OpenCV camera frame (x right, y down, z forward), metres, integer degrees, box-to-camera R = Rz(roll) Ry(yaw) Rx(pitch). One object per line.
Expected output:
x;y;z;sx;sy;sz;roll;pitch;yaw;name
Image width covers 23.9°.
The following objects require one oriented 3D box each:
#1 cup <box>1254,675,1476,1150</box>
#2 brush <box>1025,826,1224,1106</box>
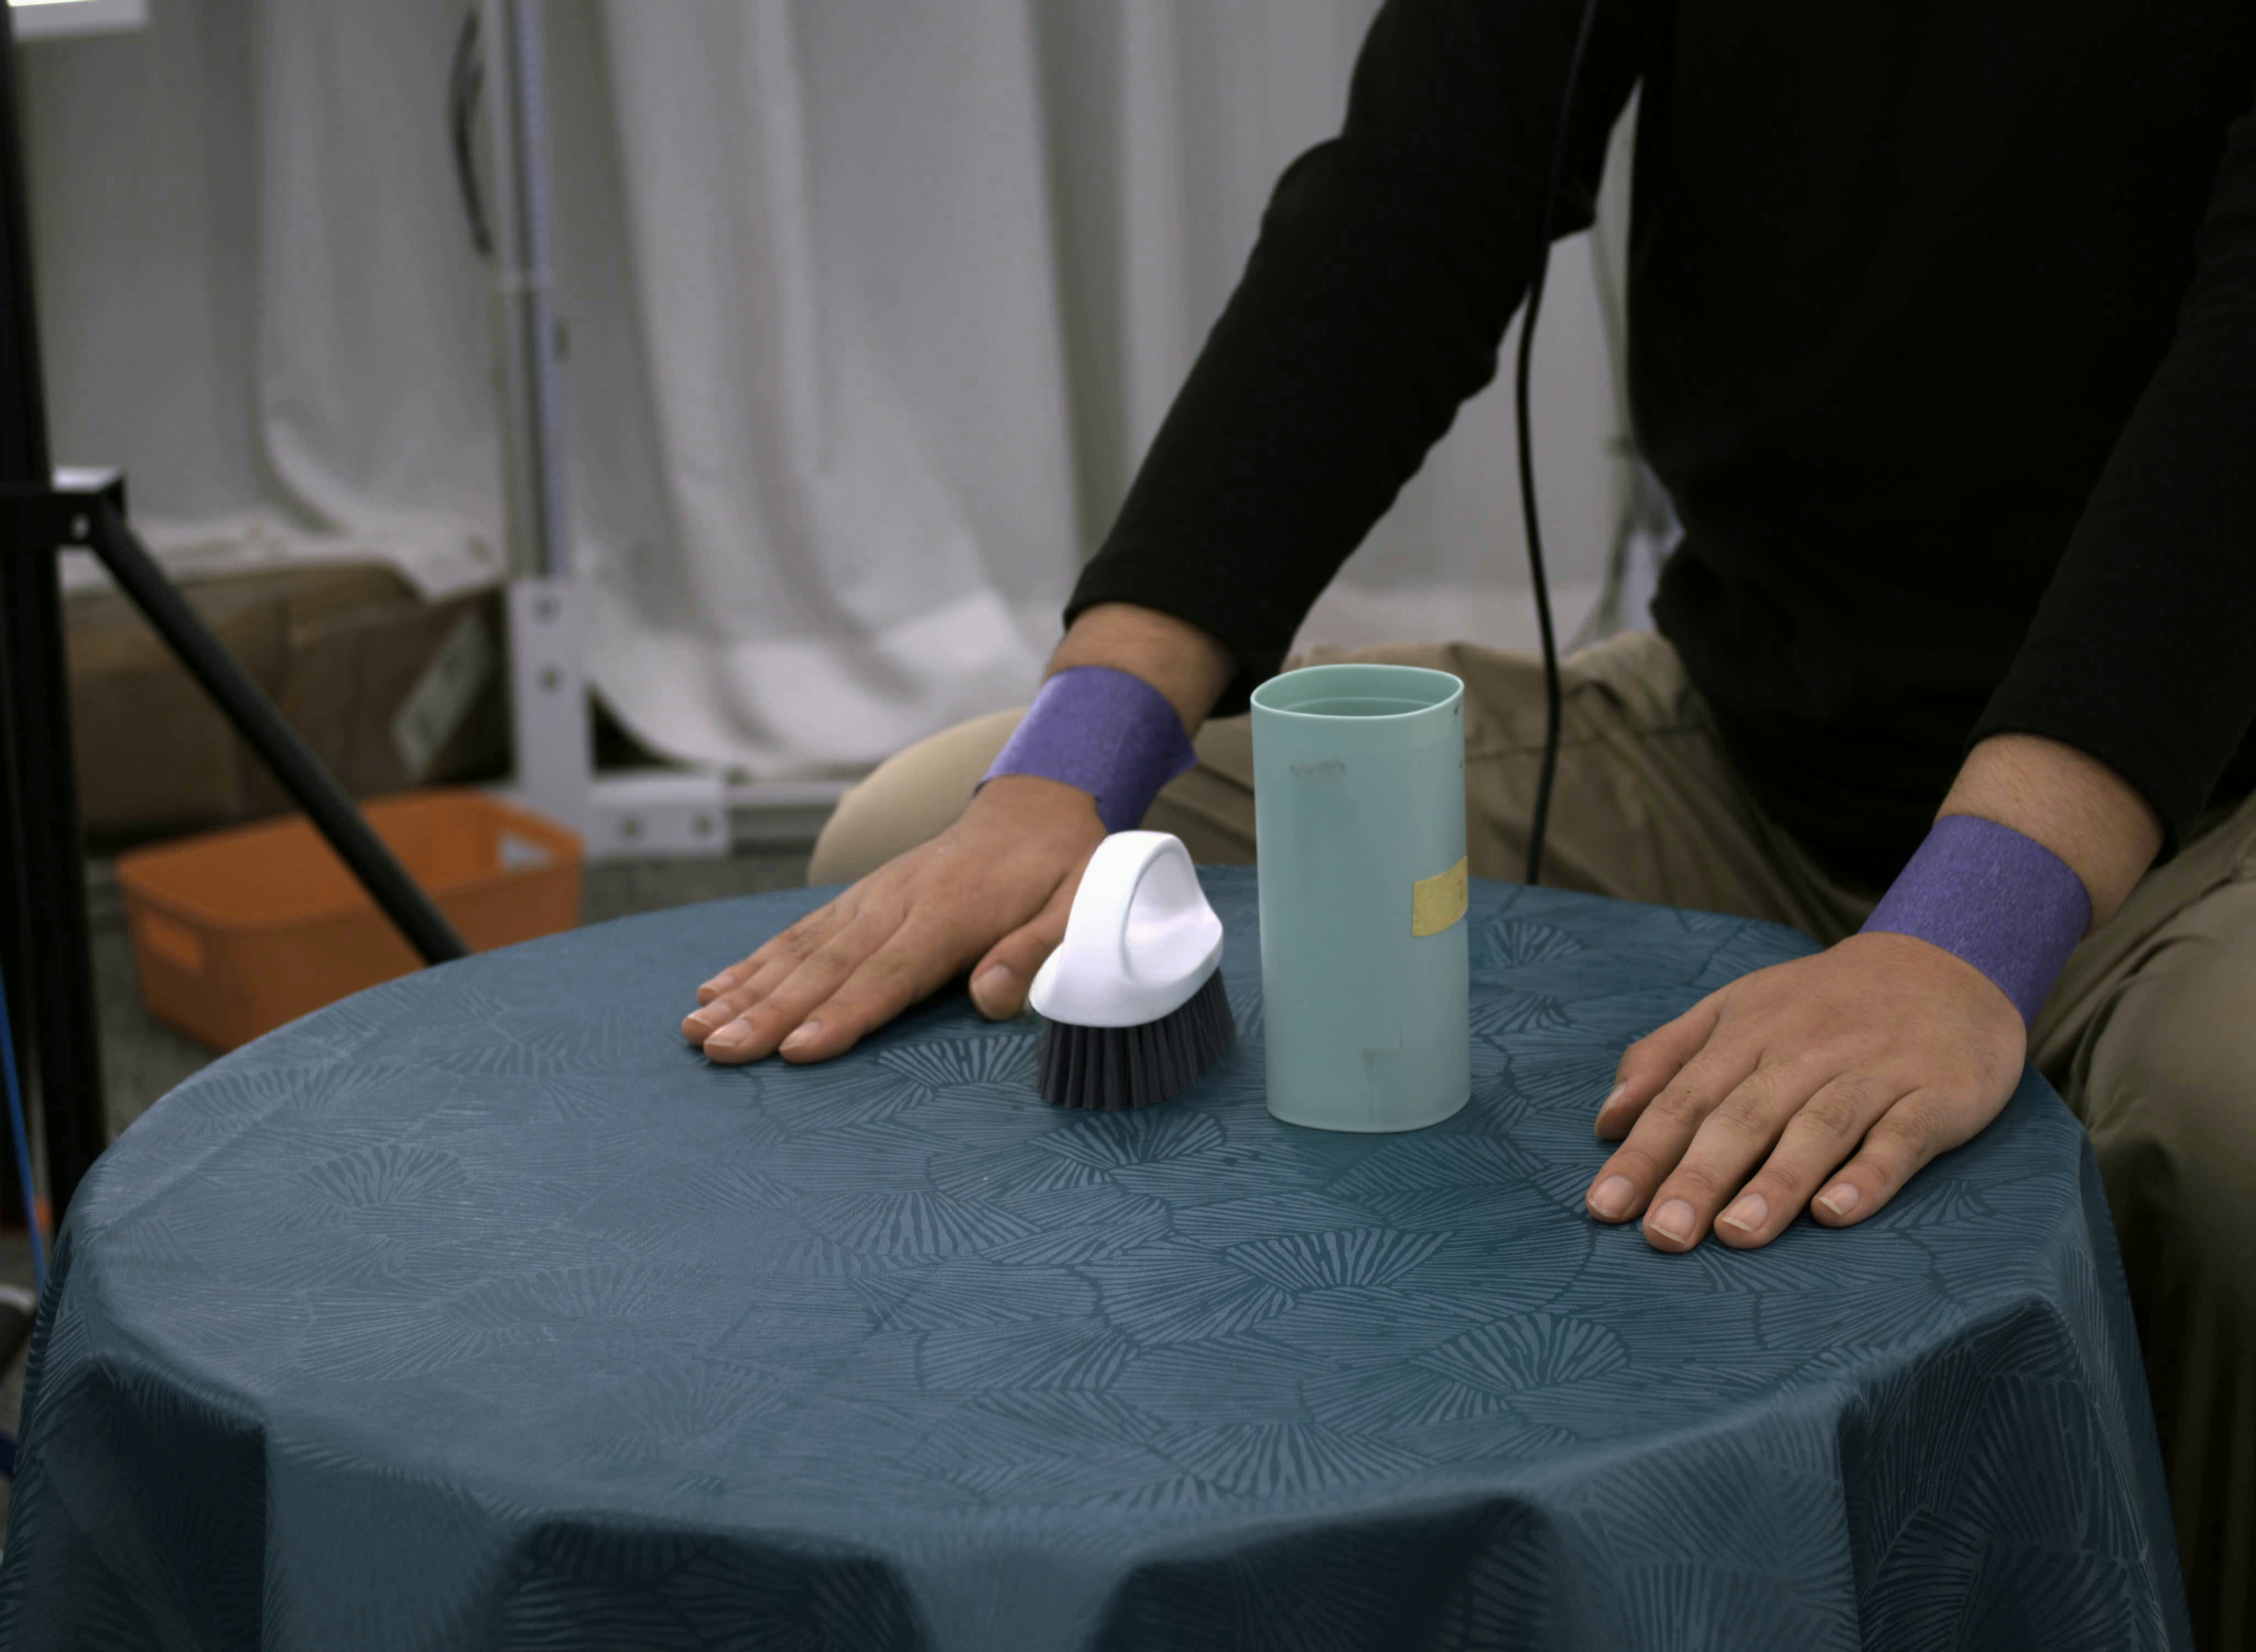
0.072;0.026;1.613;0.066;0.132;0.067;-3;15;-1;cup
0.000;0.039;1.668;0.051;0.072;0.098;5;18;18;brush
